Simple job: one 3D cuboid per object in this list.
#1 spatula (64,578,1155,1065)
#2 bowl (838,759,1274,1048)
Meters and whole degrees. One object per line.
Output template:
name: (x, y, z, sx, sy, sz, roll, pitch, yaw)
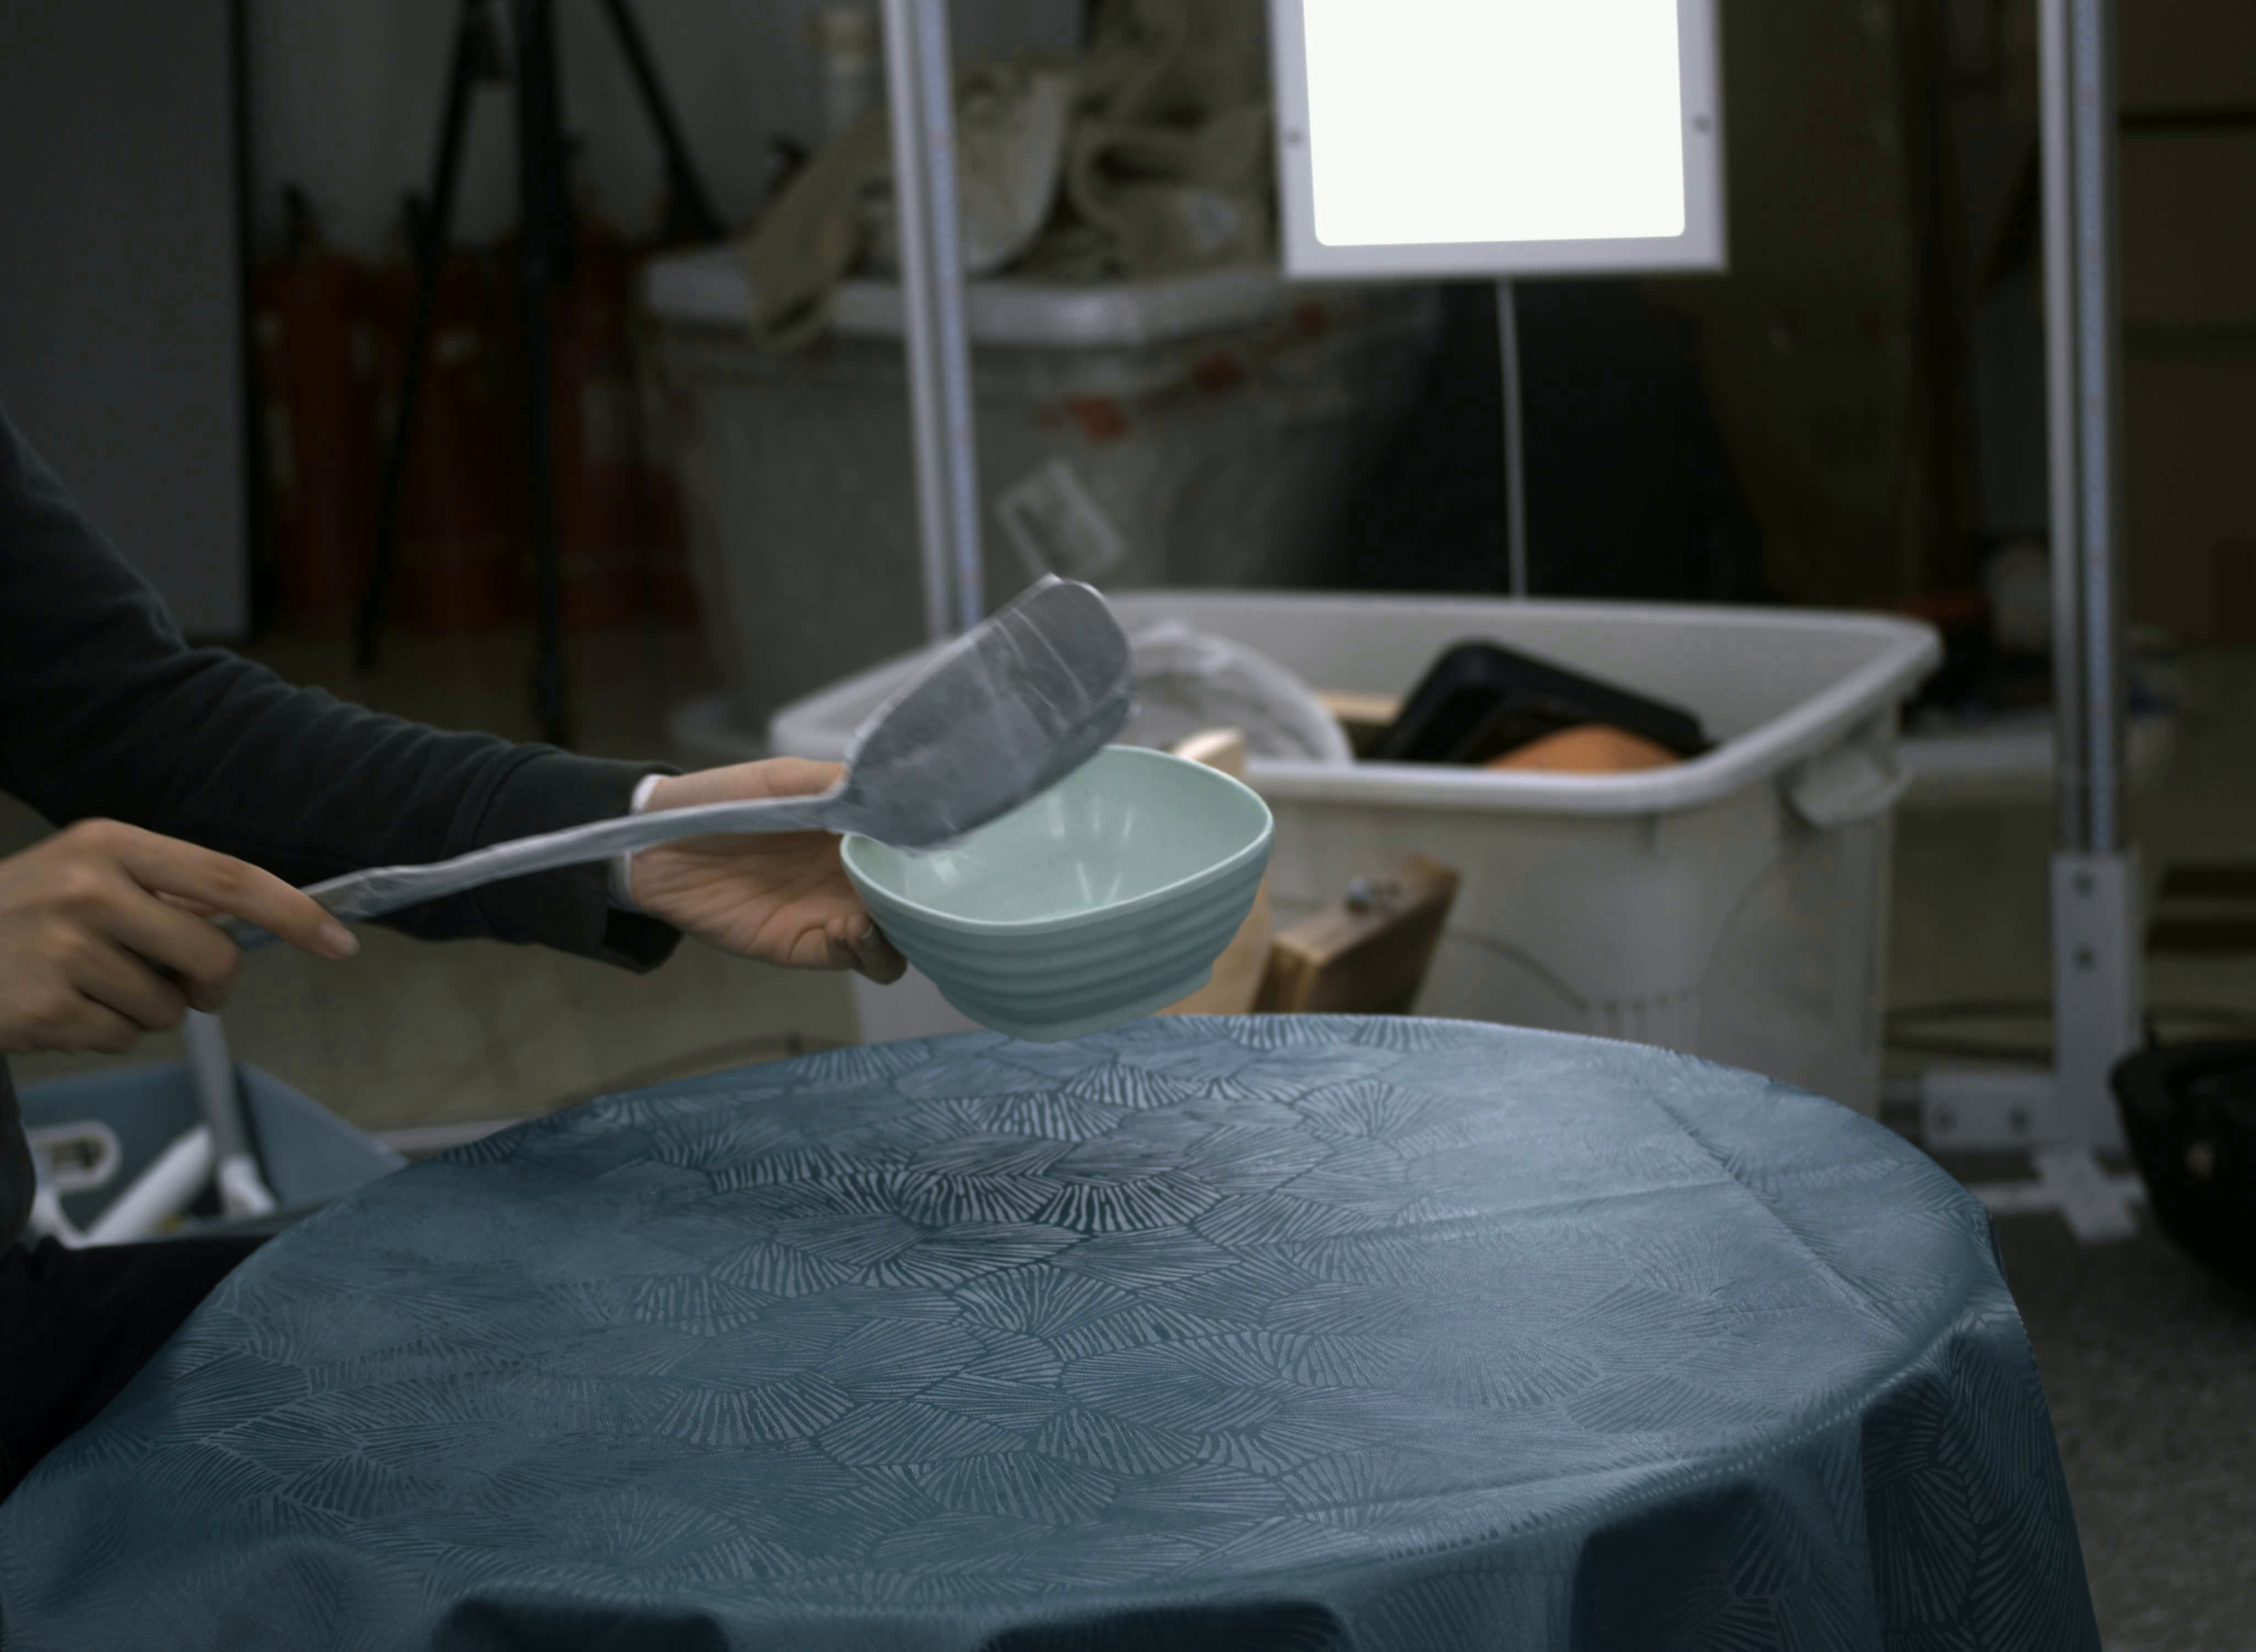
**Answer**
spatula: (-0.165, 0.006, 1.716, 0.366, 0.045, 0.098, -15, -29, 7)
bowl: (-0.023, 0.030, 1.888, 0.151, 0.059, 0.151, -5, 21, 1)
